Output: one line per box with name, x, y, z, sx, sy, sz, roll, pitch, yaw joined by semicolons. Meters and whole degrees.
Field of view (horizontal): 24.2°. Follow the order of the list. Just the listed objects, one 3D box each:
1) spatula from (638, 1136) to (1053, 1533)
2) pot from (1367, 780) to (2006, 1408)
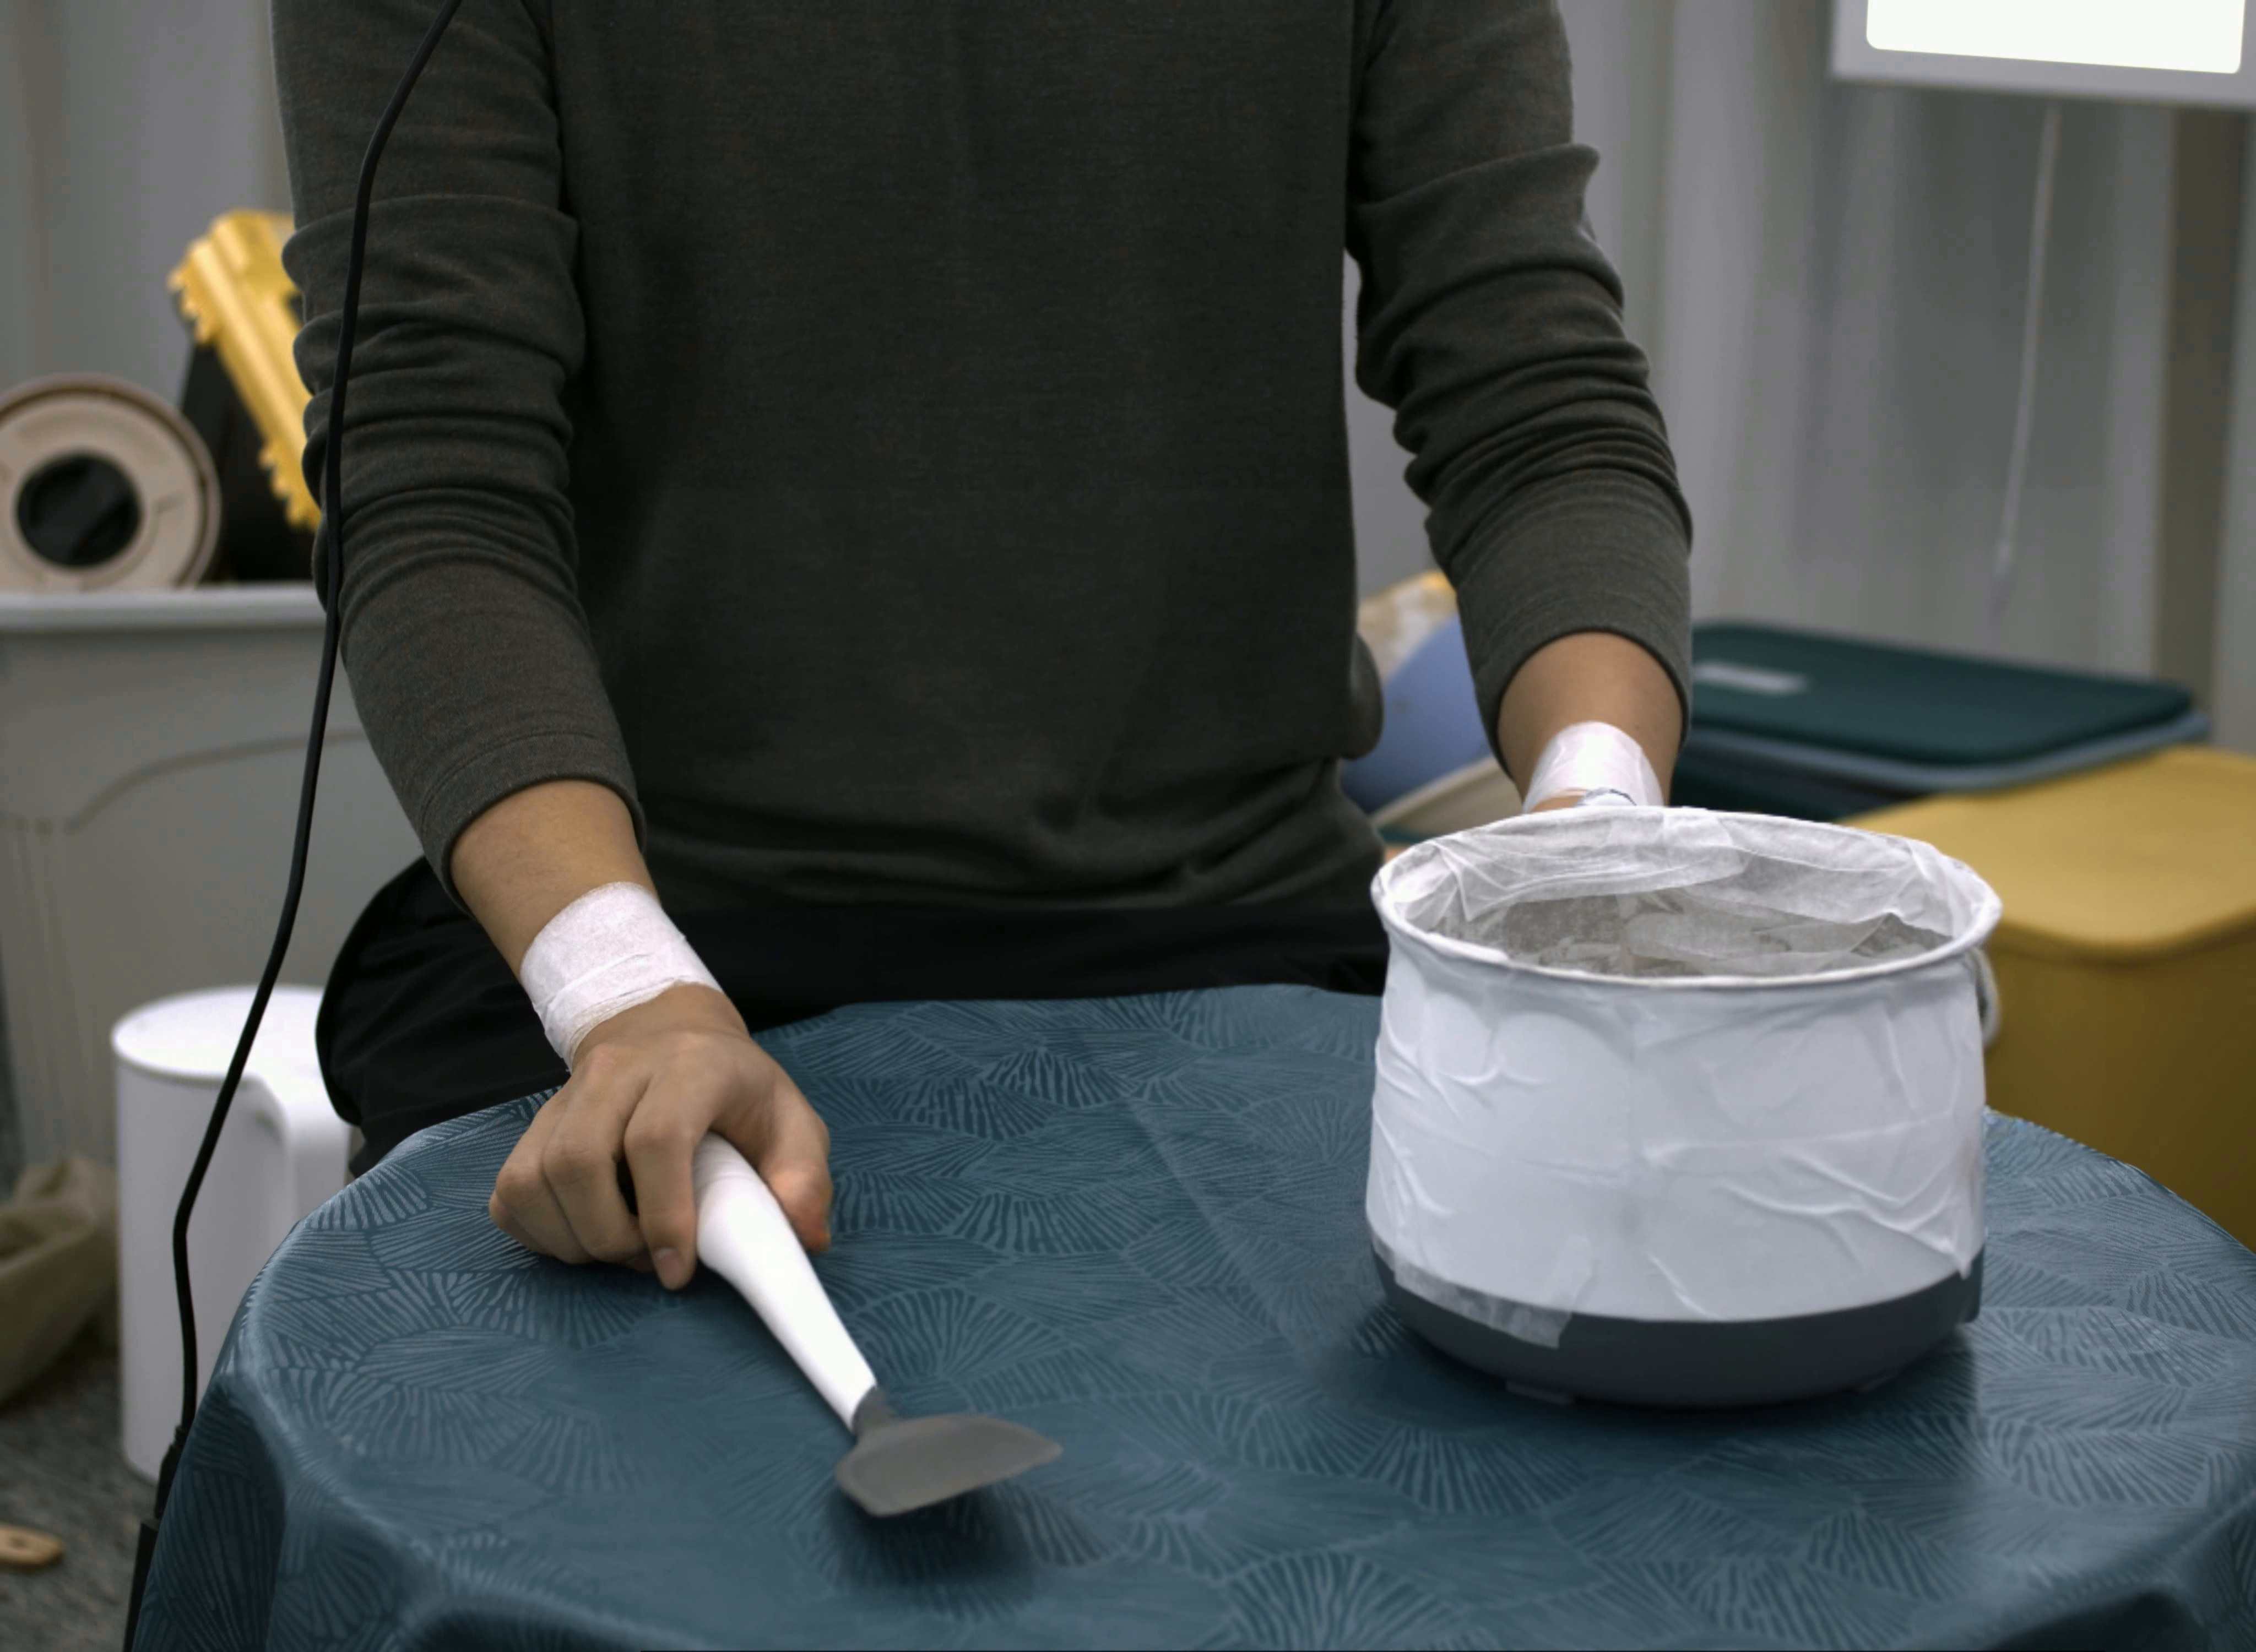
spatula;-0.085;0.142;1.454;0.059;0.032;0.284;-15;19;-15
pot;0.152;0.071;1.519;0.178;0.138;0.232;-2;16;-9
